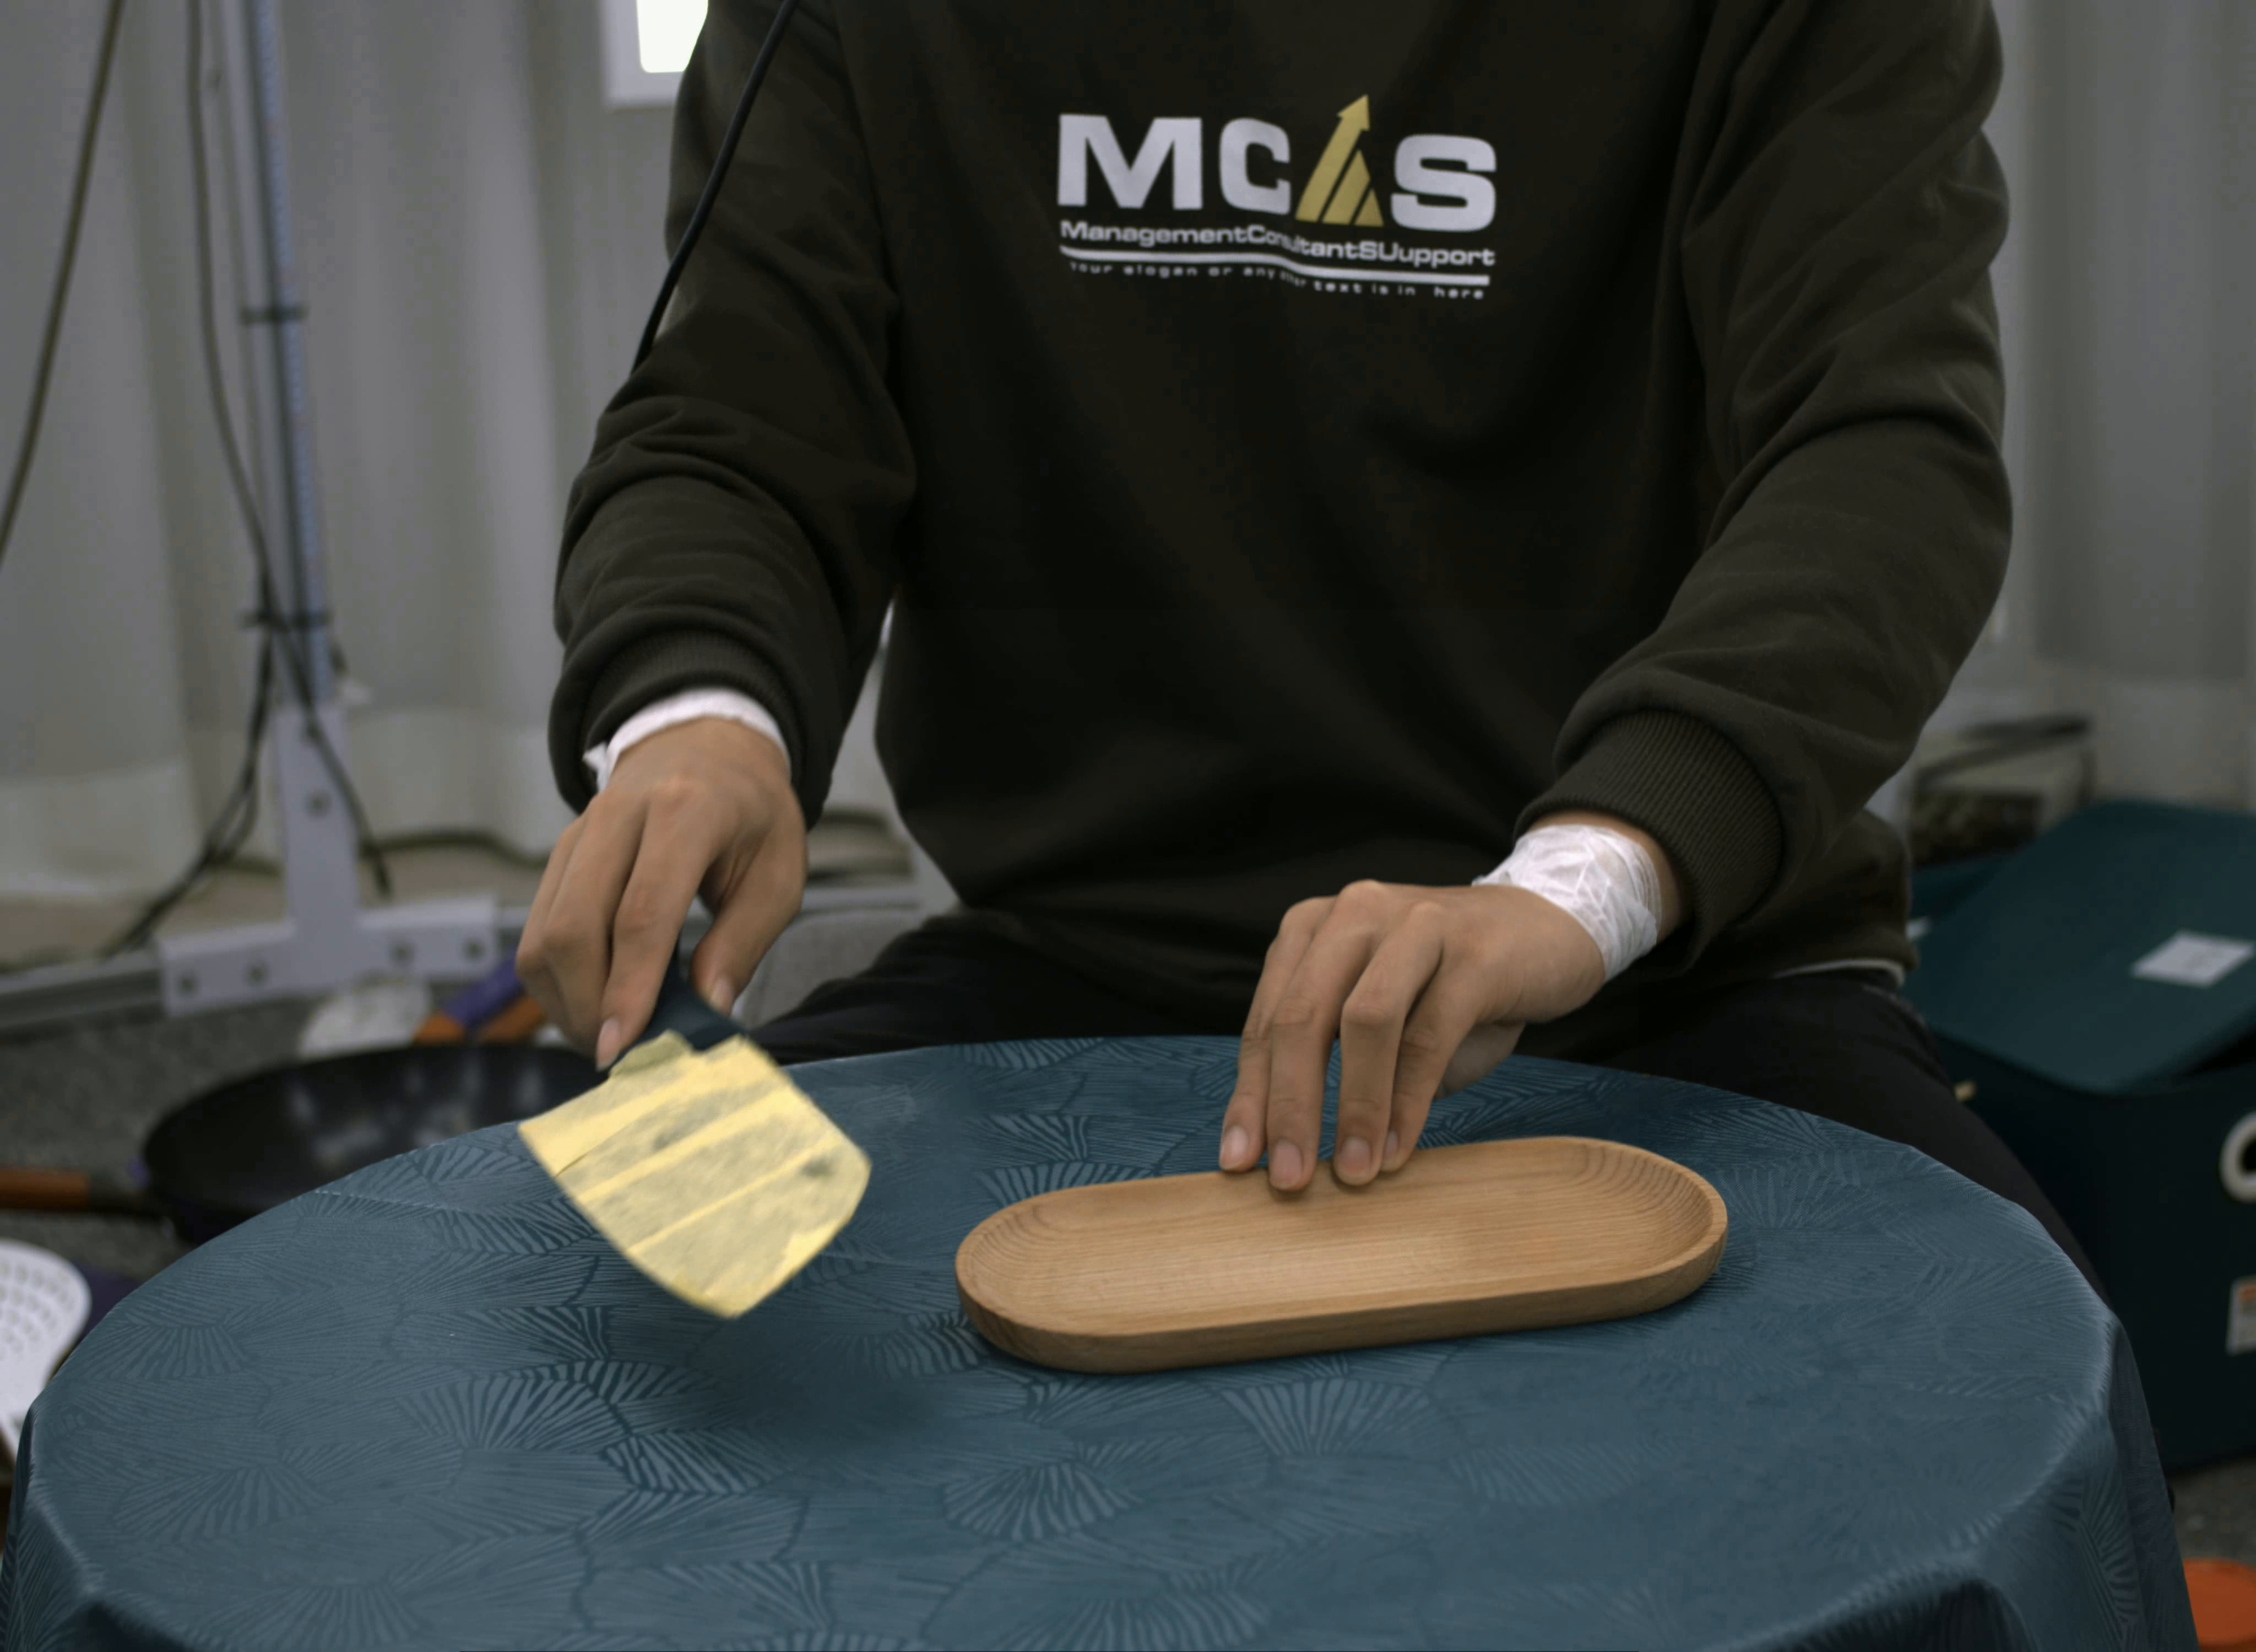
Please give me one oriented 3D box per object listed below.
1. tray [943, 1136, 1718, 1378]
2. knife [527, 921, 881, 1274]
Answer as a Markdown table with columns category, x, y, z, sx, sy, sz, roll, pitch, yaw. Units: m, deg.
| category | x | y | z | sx | sy | sz | roll | pitch | yaw |
| --- | --- | --- | --- | --- | --- | --- | --- | --- | --- |
| tray | 0.060 | 0.127 | 1.609 | 0.230 | 0.020 | 0.103 | -7 | 22 | -9 |
| knife | -0.139 | 0.080 | 1.630 | 0.081 | 0.027 | 0.292 | -25 | 22 | -11 |
